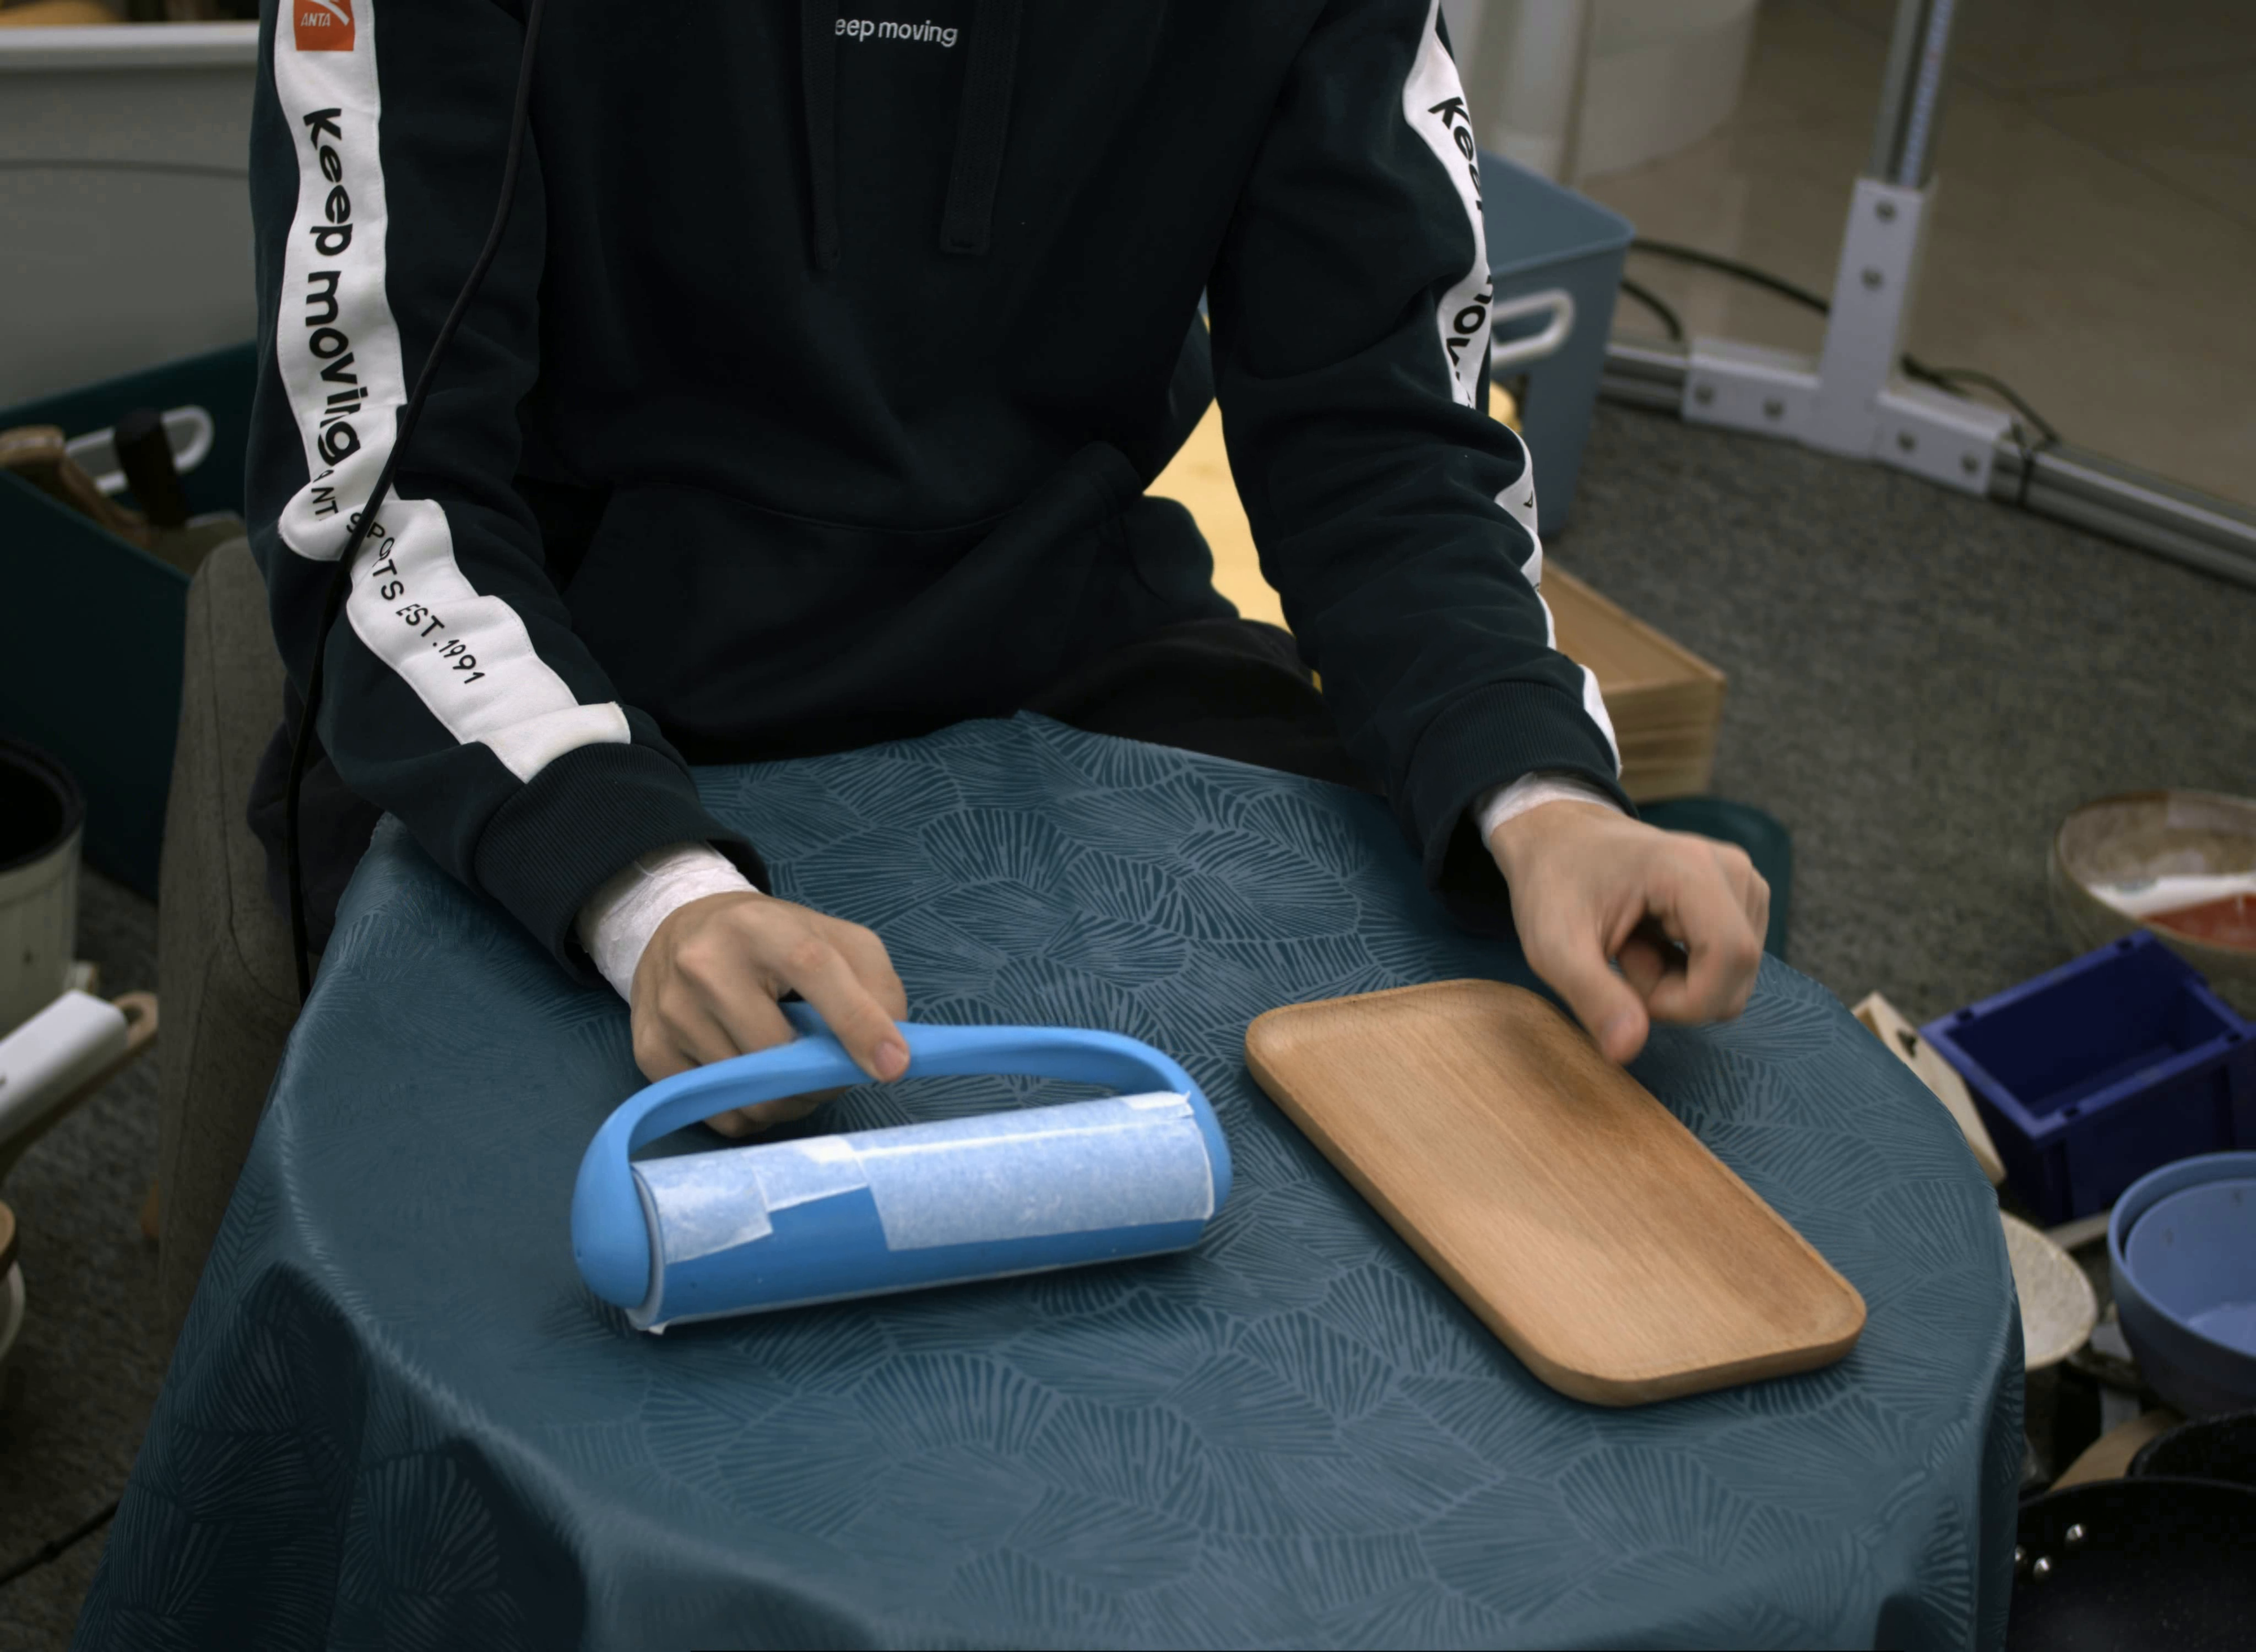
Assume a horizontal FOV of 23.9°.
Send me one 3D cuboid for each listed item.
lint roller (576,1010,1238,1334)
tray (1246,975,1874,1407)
[{"bbox_3d":[-0.095,0.096,1.768,0.227,0.067,0.182,-9,31,-25],"label":"lint roller"},{"bbox_3d":[0.143,0.121,1.816,0.129,0.023,0.253,-5,29,-26],"label":"tray"}]
